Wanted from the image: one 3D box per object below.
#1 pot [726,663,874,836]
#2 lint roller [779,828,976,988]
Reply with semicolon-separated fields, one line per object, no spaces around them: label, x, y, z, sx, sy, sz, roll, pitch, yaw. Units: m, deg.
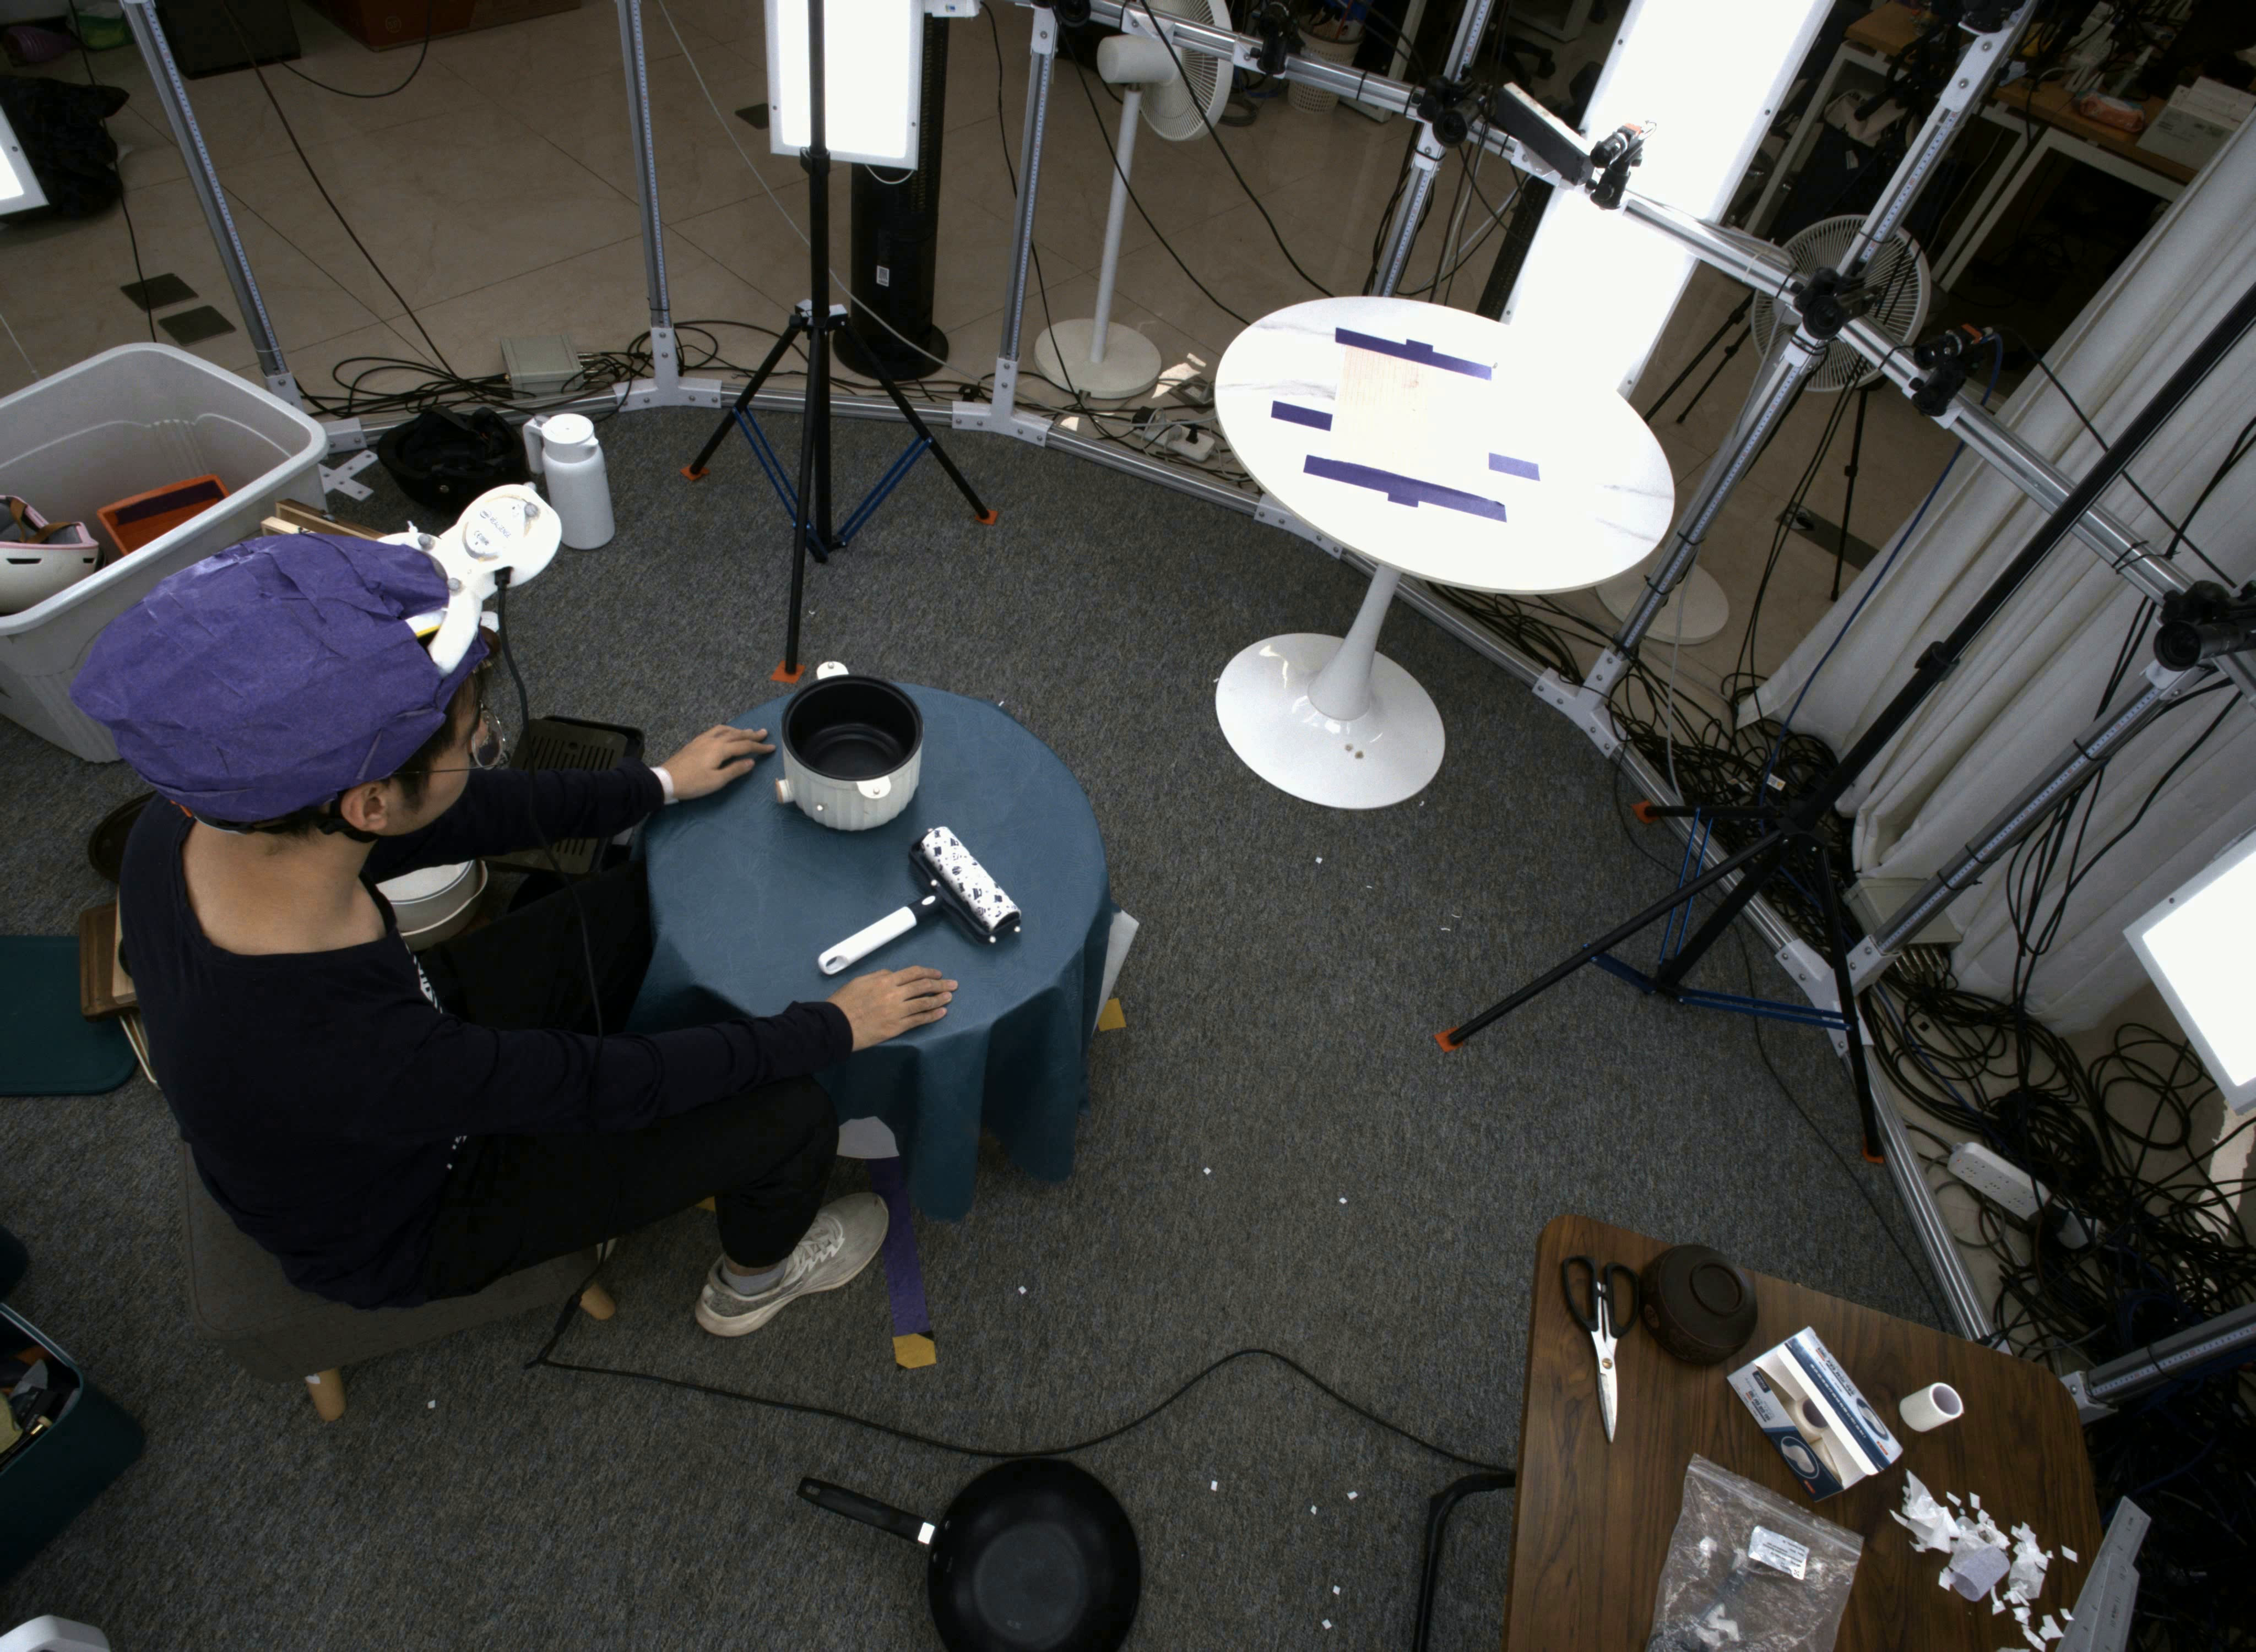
pot;-0.433;-0.083;1.705;0.192;0.145;0.234;-15;58;-26
lint roller;-0.335;0.122;1.642;0.247;0.051;0.172;-36;70;-29
